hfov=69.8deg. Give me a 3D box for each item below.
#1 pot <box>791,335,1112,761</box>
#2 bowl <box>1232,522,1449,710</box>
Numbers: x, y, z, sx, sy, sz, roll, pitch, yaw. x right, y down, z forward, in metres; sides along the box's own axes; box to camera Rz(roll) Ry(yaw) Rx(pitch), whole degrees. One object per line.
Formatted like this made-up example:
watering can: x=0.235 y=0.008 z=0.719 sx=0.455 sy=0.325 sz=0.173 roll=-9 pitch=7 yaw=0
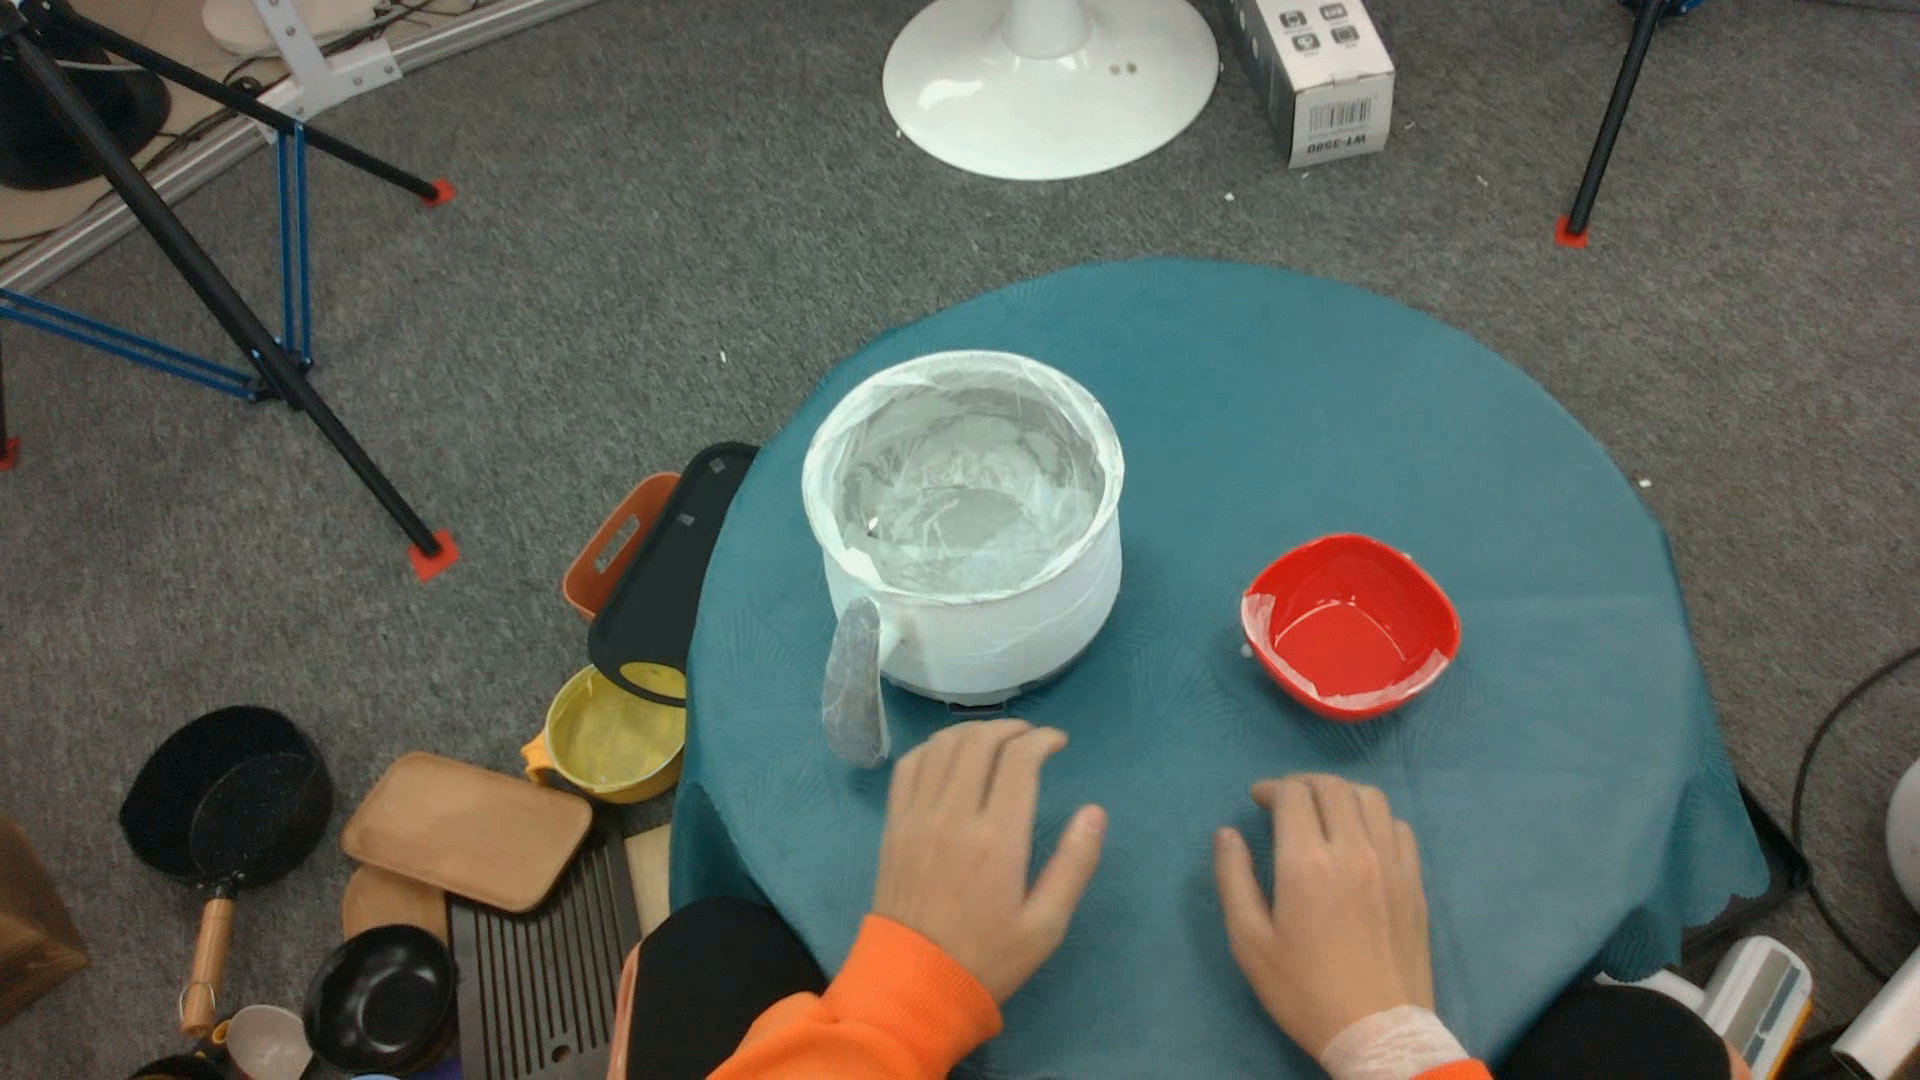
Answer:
pot: x=-0.013 y=0.010 z=0.790 sx=0.178 sy=0.136 sz=0.235 roll=21 pitch=60 yaw=19
bowl: x=0.215 y=0.052 z=0.791 sx=0.119 sy=0.051 sz=0.119 roll=-3 pitch=53 yaw=4
